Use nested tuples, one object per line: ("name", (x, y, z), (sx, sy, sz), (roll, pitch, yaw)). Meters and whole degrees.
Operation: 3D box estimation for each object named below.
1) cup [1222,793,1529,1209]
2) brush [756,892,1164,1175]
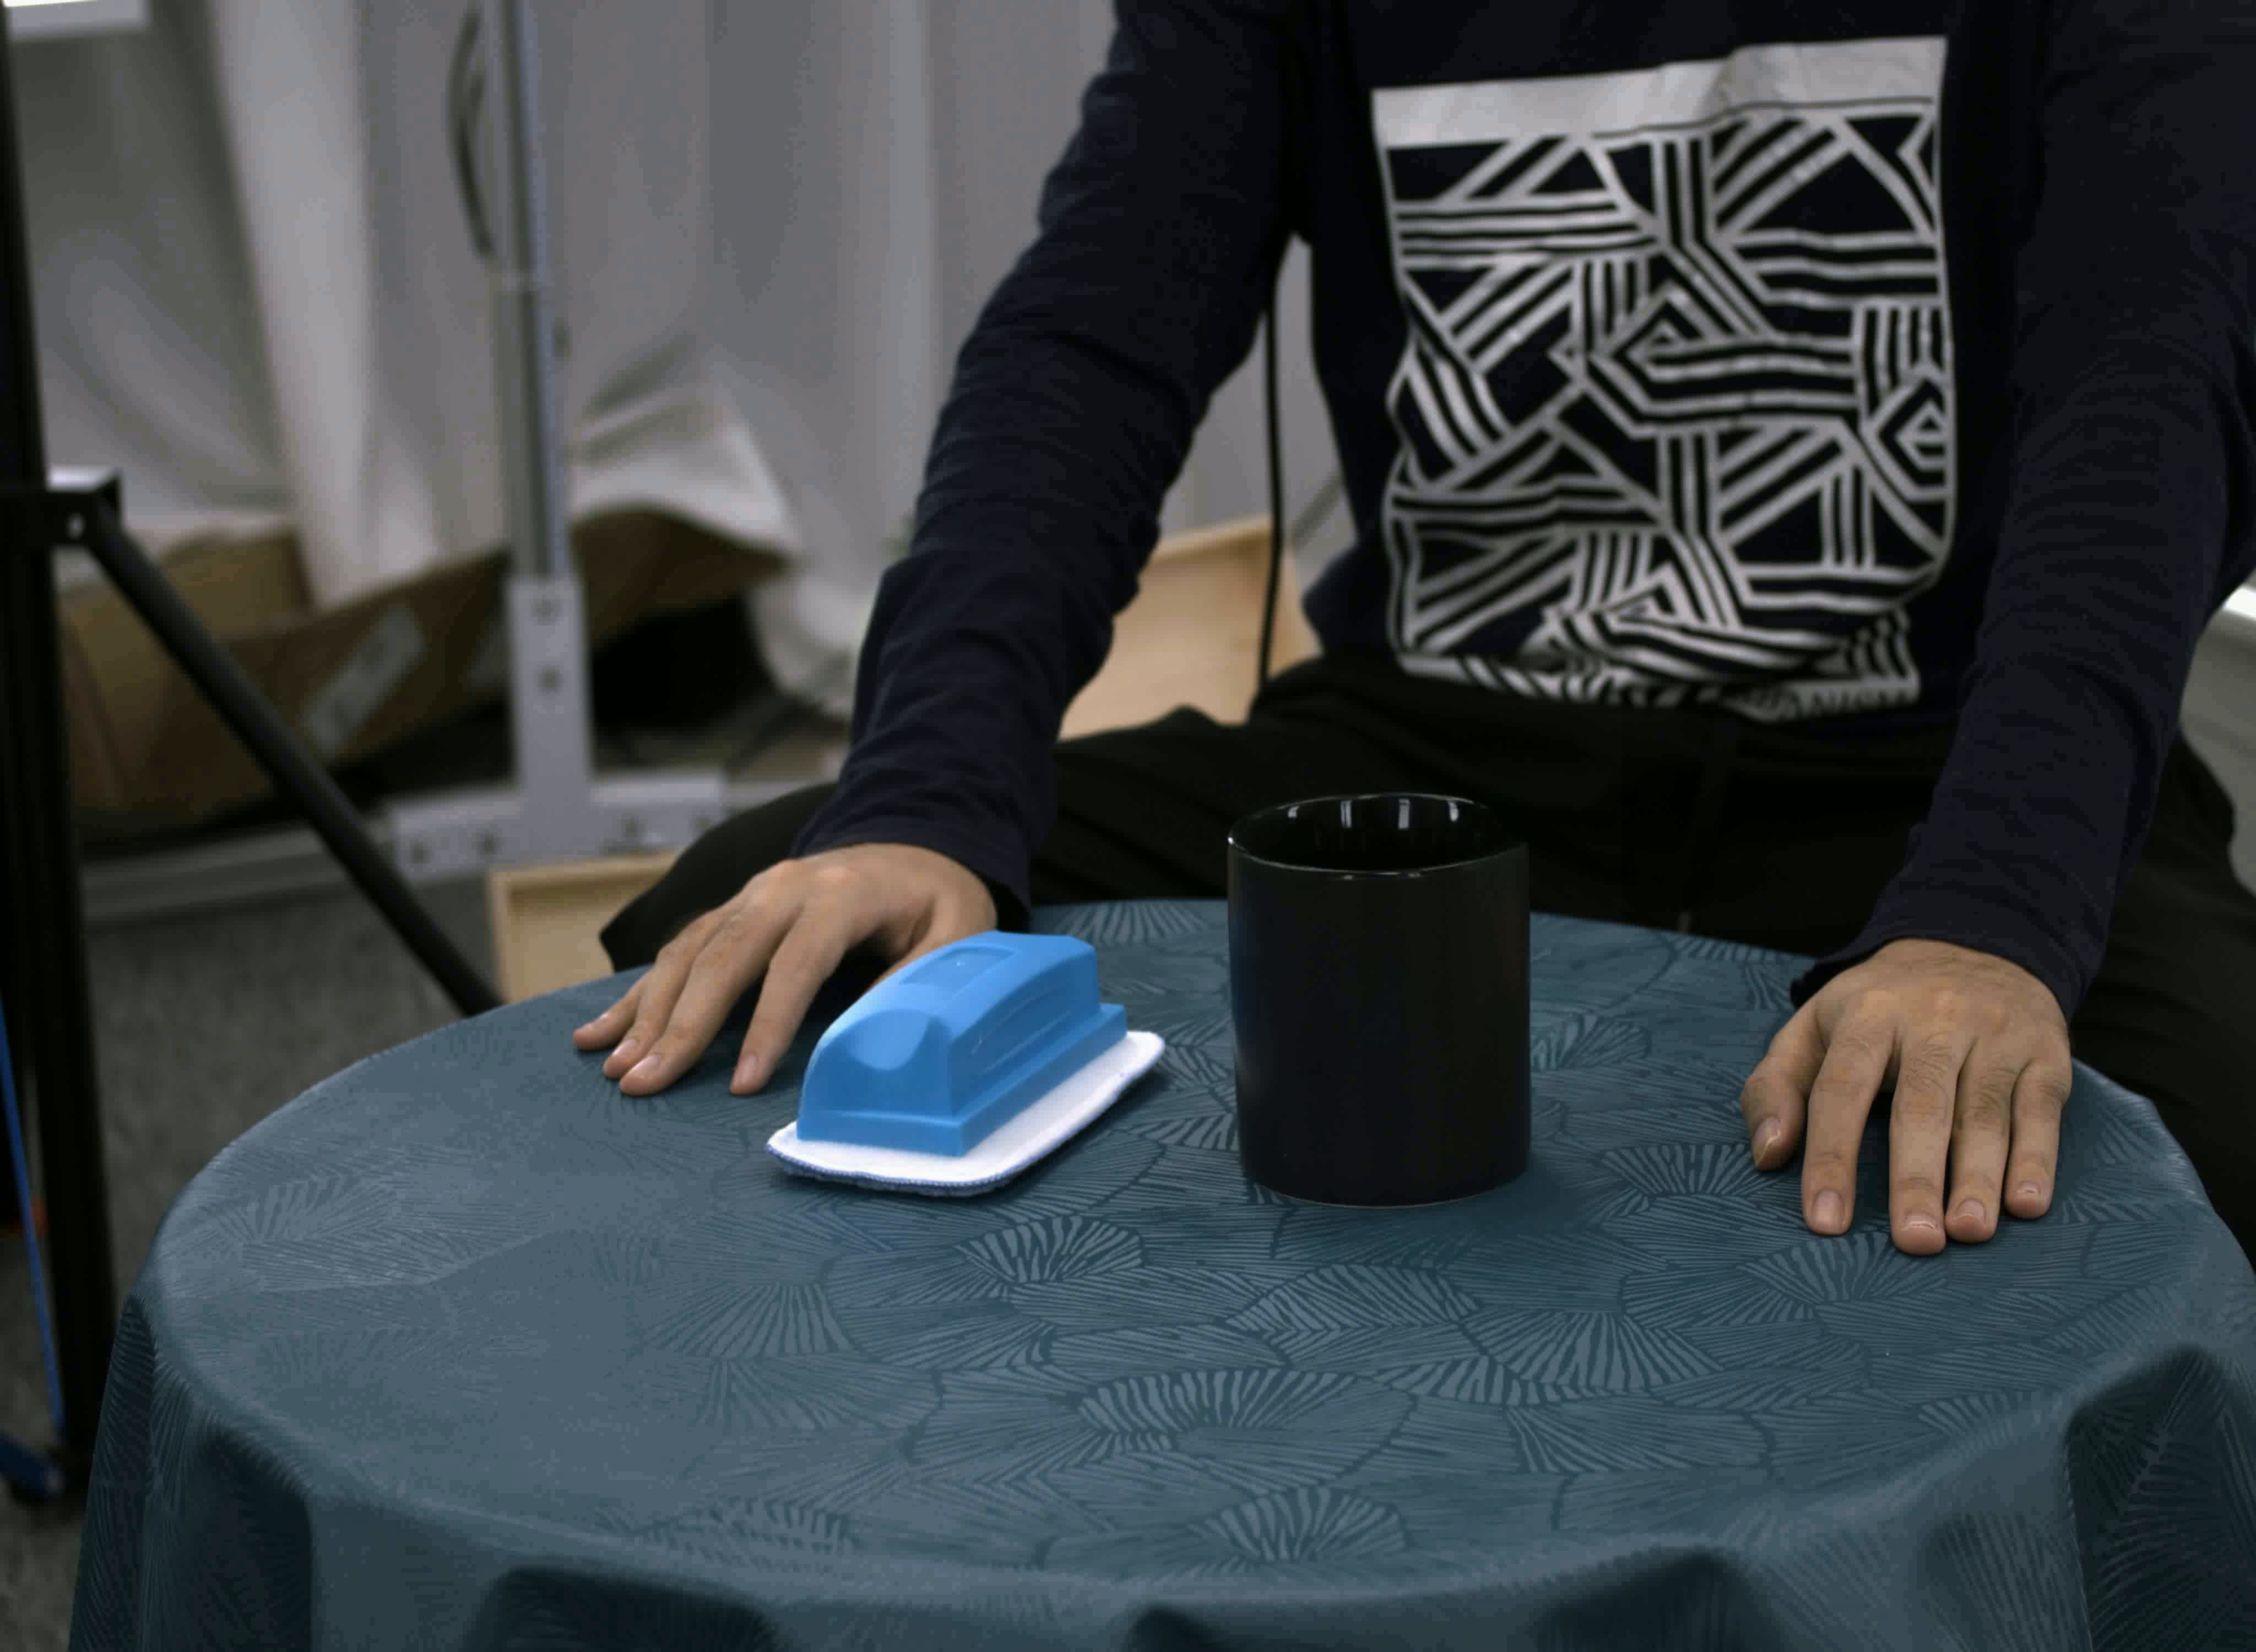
("cup", (0.079, 0.047, 1.580), (0.090, 0.105, 0.122), (2, 13, 21))
("brush", (-0.049, 0.059, 1.628), (0.085, 0.056, 0.142), (9, 22, 25))
